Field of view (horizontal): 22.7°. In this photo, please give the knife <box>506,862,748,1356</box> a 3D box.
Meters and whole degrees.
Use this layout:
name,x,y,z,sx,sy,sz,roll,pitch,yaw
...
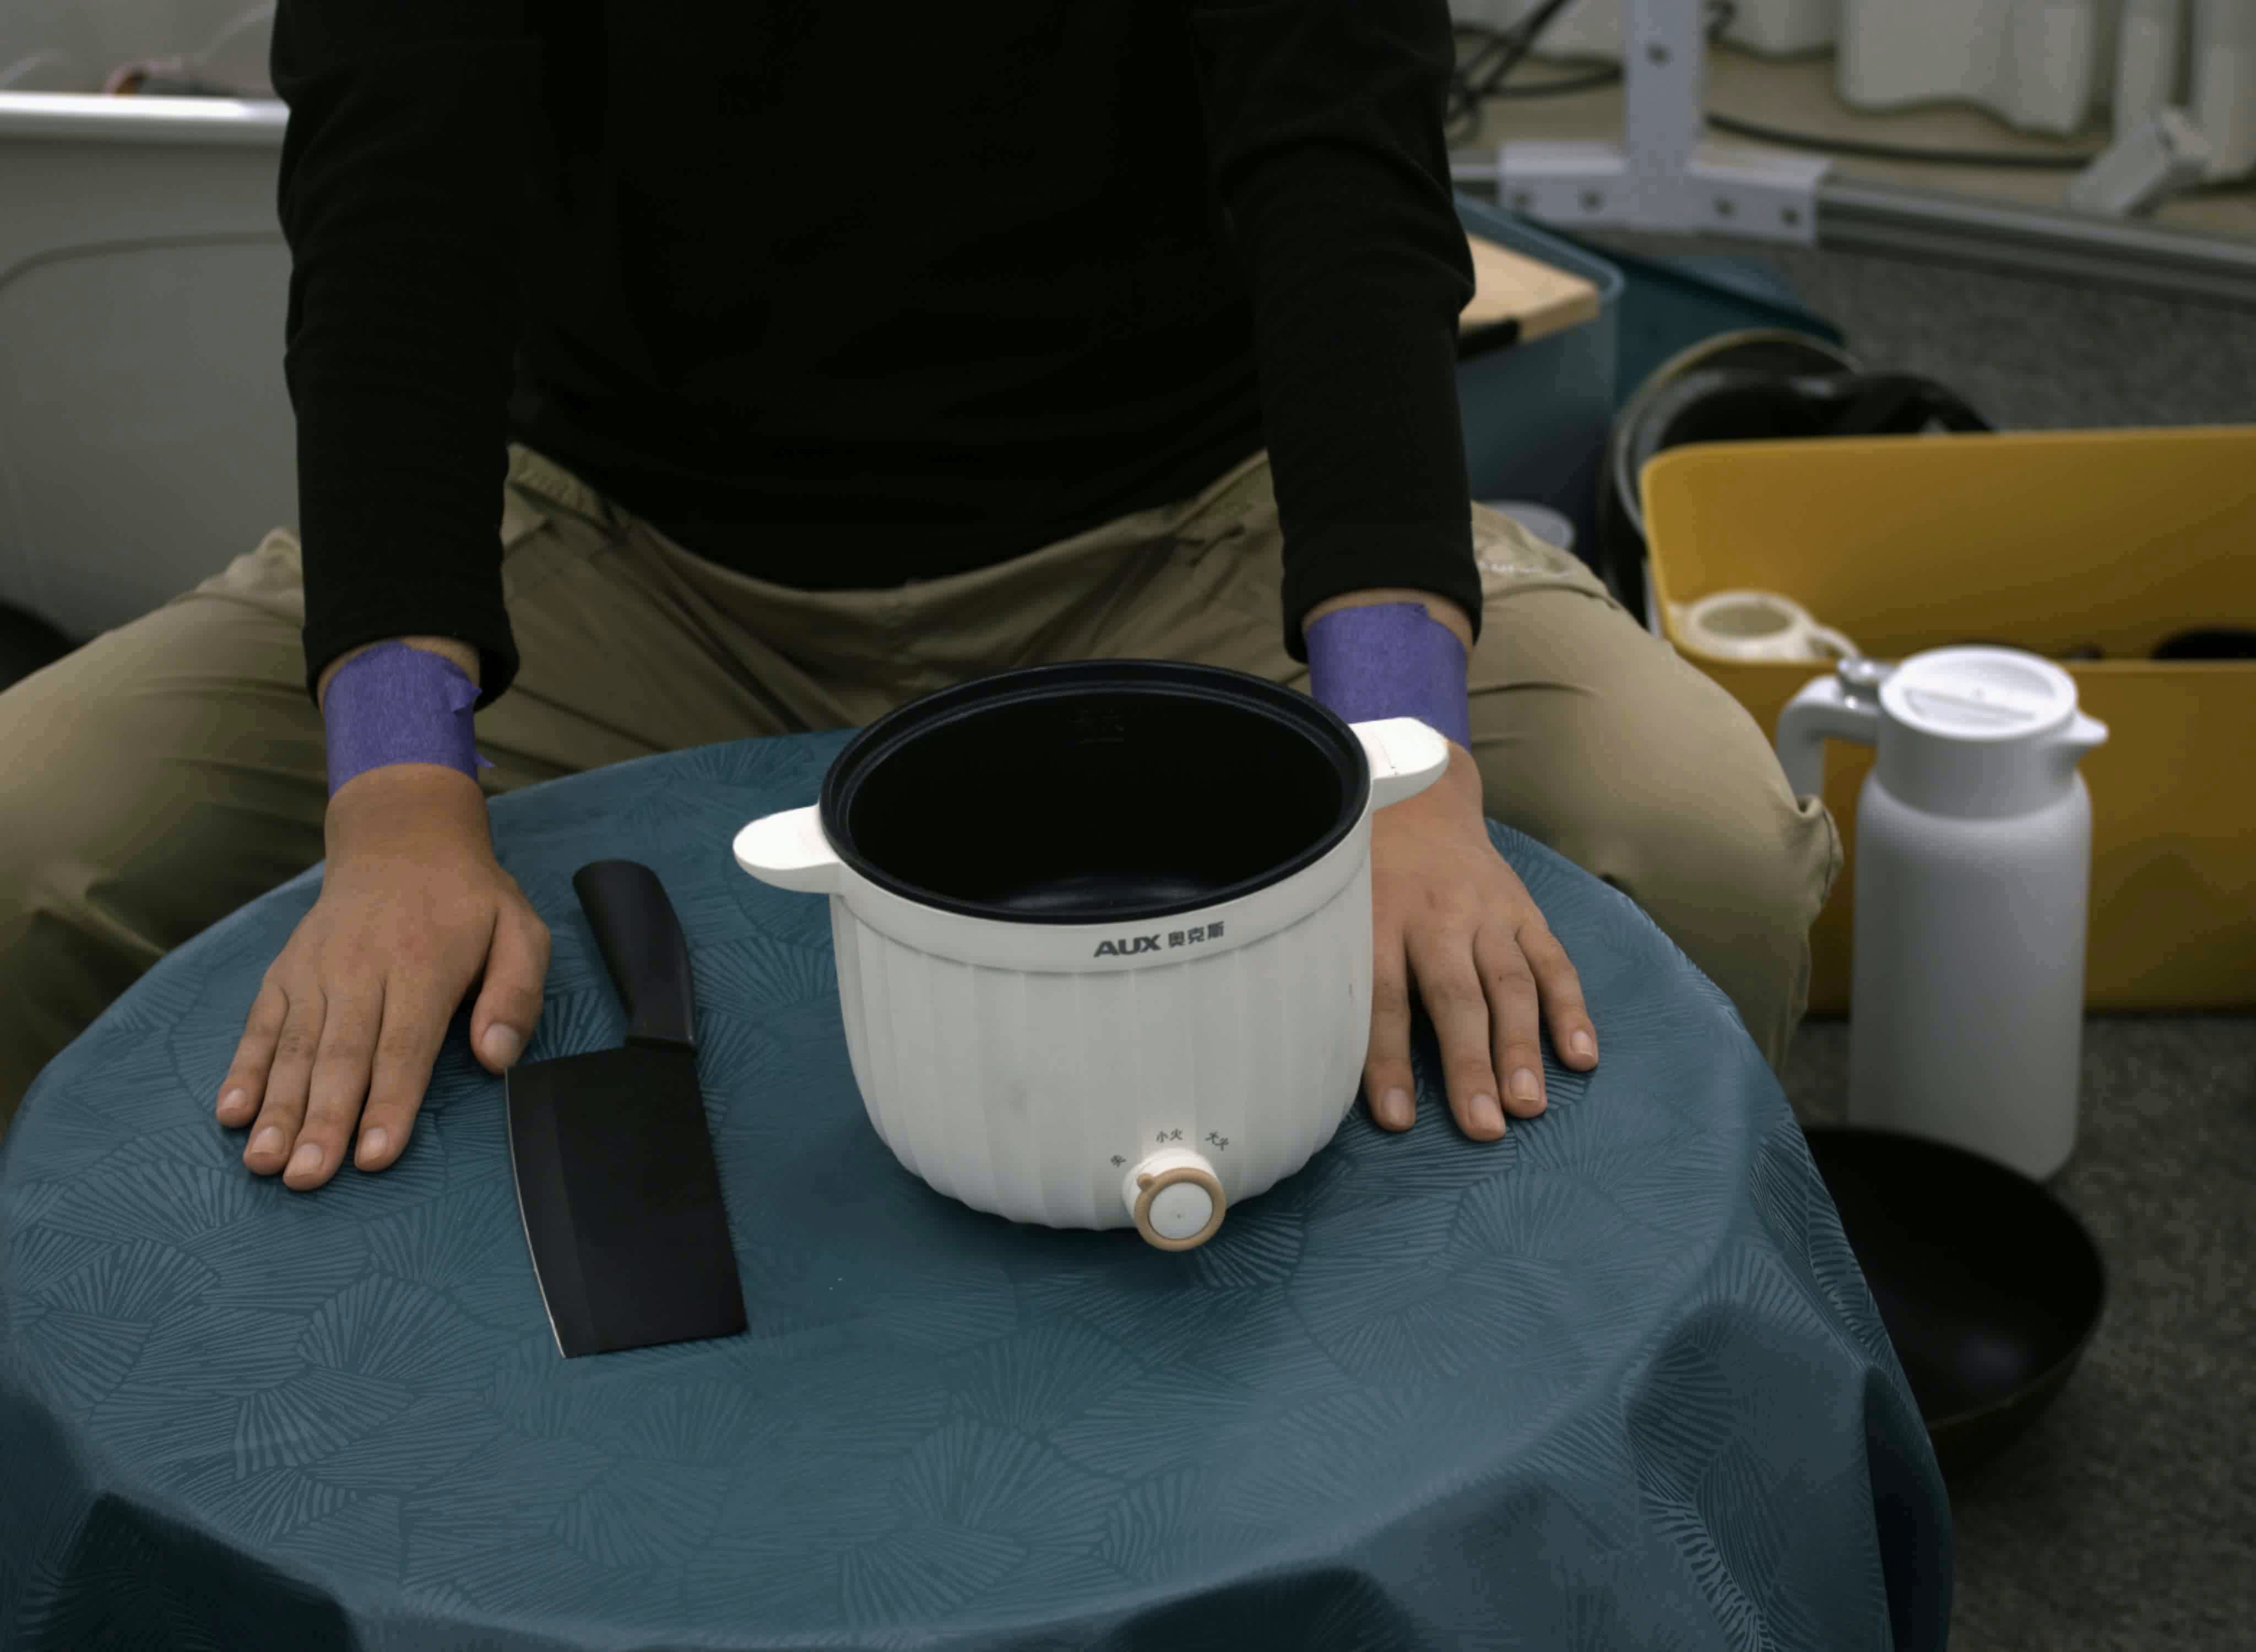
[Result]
name,x,y,z,sx,sy,sz,roll,pitch,yaw
knife,-0.173,0.093,1.916,0.080,0.020,0.307,-5,29,-3

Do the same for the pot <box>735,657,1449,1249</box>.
name,x,y,z,sx,sy,sz,roll,pitch,yaw
pot,-0.005,0.046,1.857,0.240,0.141,0.192,-10,24,-11
